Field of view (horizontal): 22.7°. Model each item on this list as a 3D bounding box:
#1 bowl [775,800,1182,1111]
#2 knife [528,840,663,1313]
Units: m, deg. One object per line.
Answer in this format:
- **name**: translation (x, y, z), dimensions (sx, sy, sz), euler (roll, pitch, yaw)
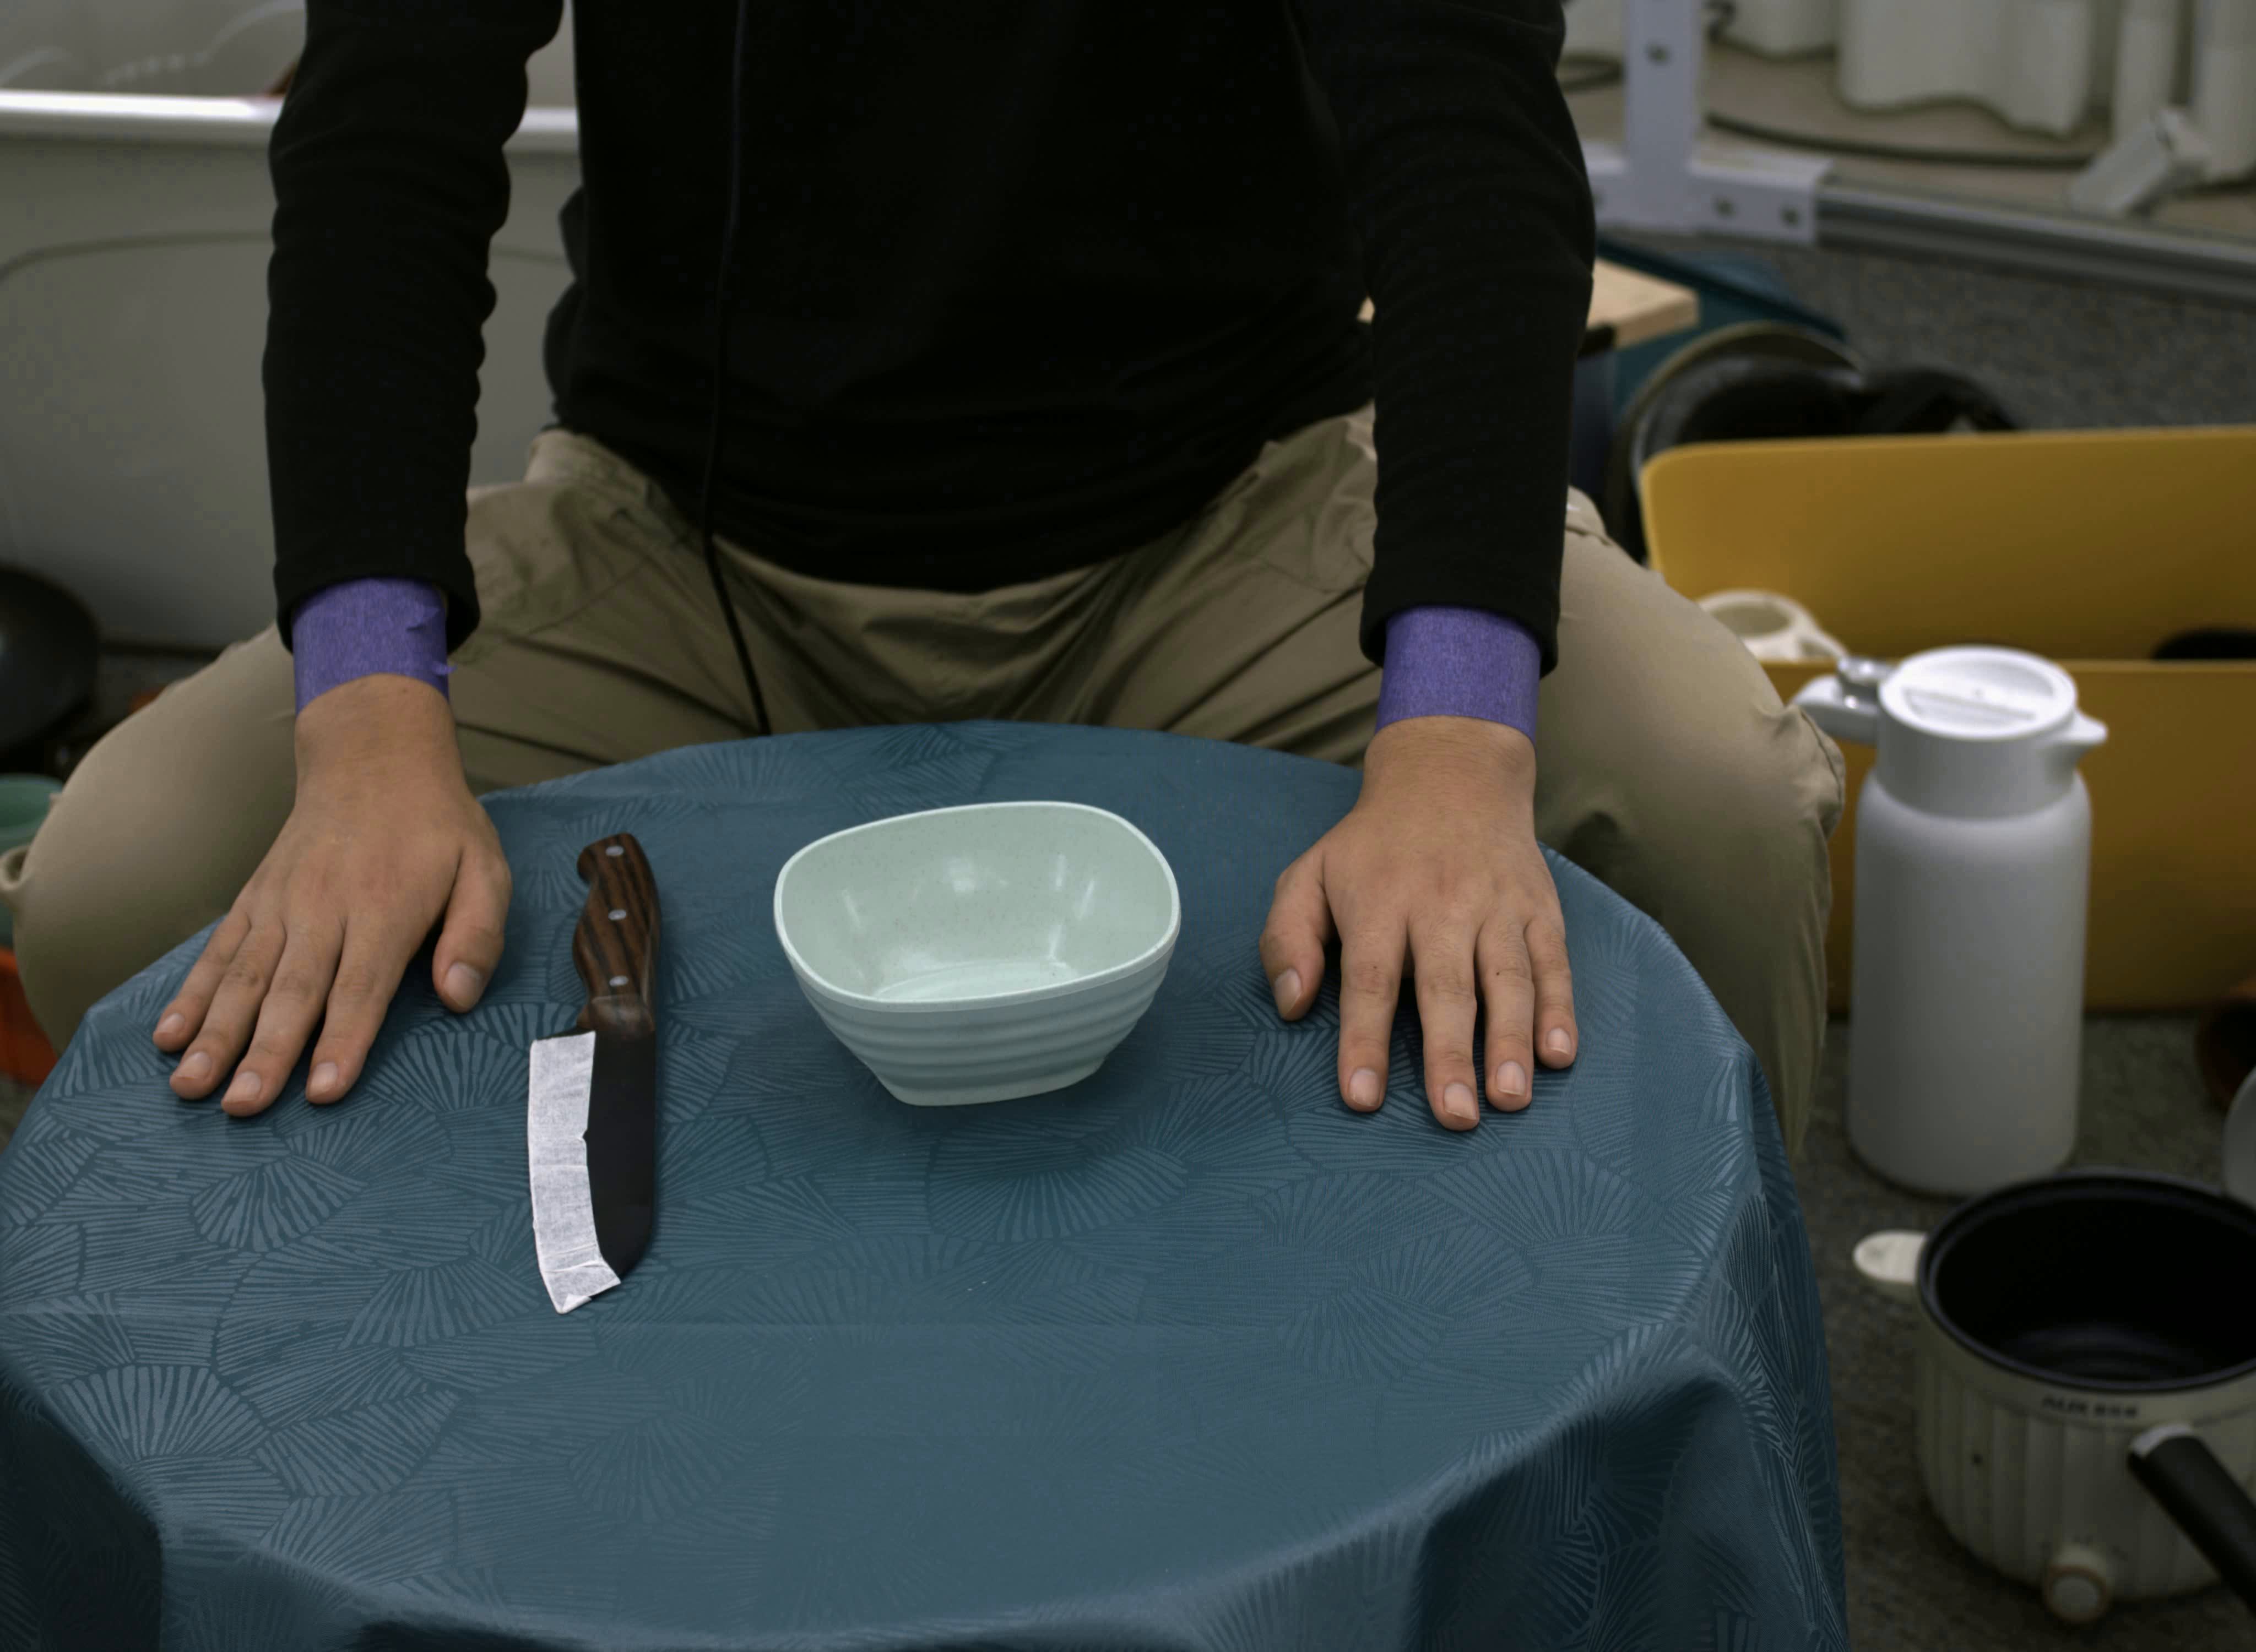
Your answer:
- **bowl**: translation (-0.050, 0.051, 1.942), dimensions (0.151, 0.058, 0.154), euler (-2, 29, 1)
- **knife**: translation (-0.182, 0.085, 1.933), dimensions (0.050, 0.020, 0.293), euler (-7, 30, 2)
